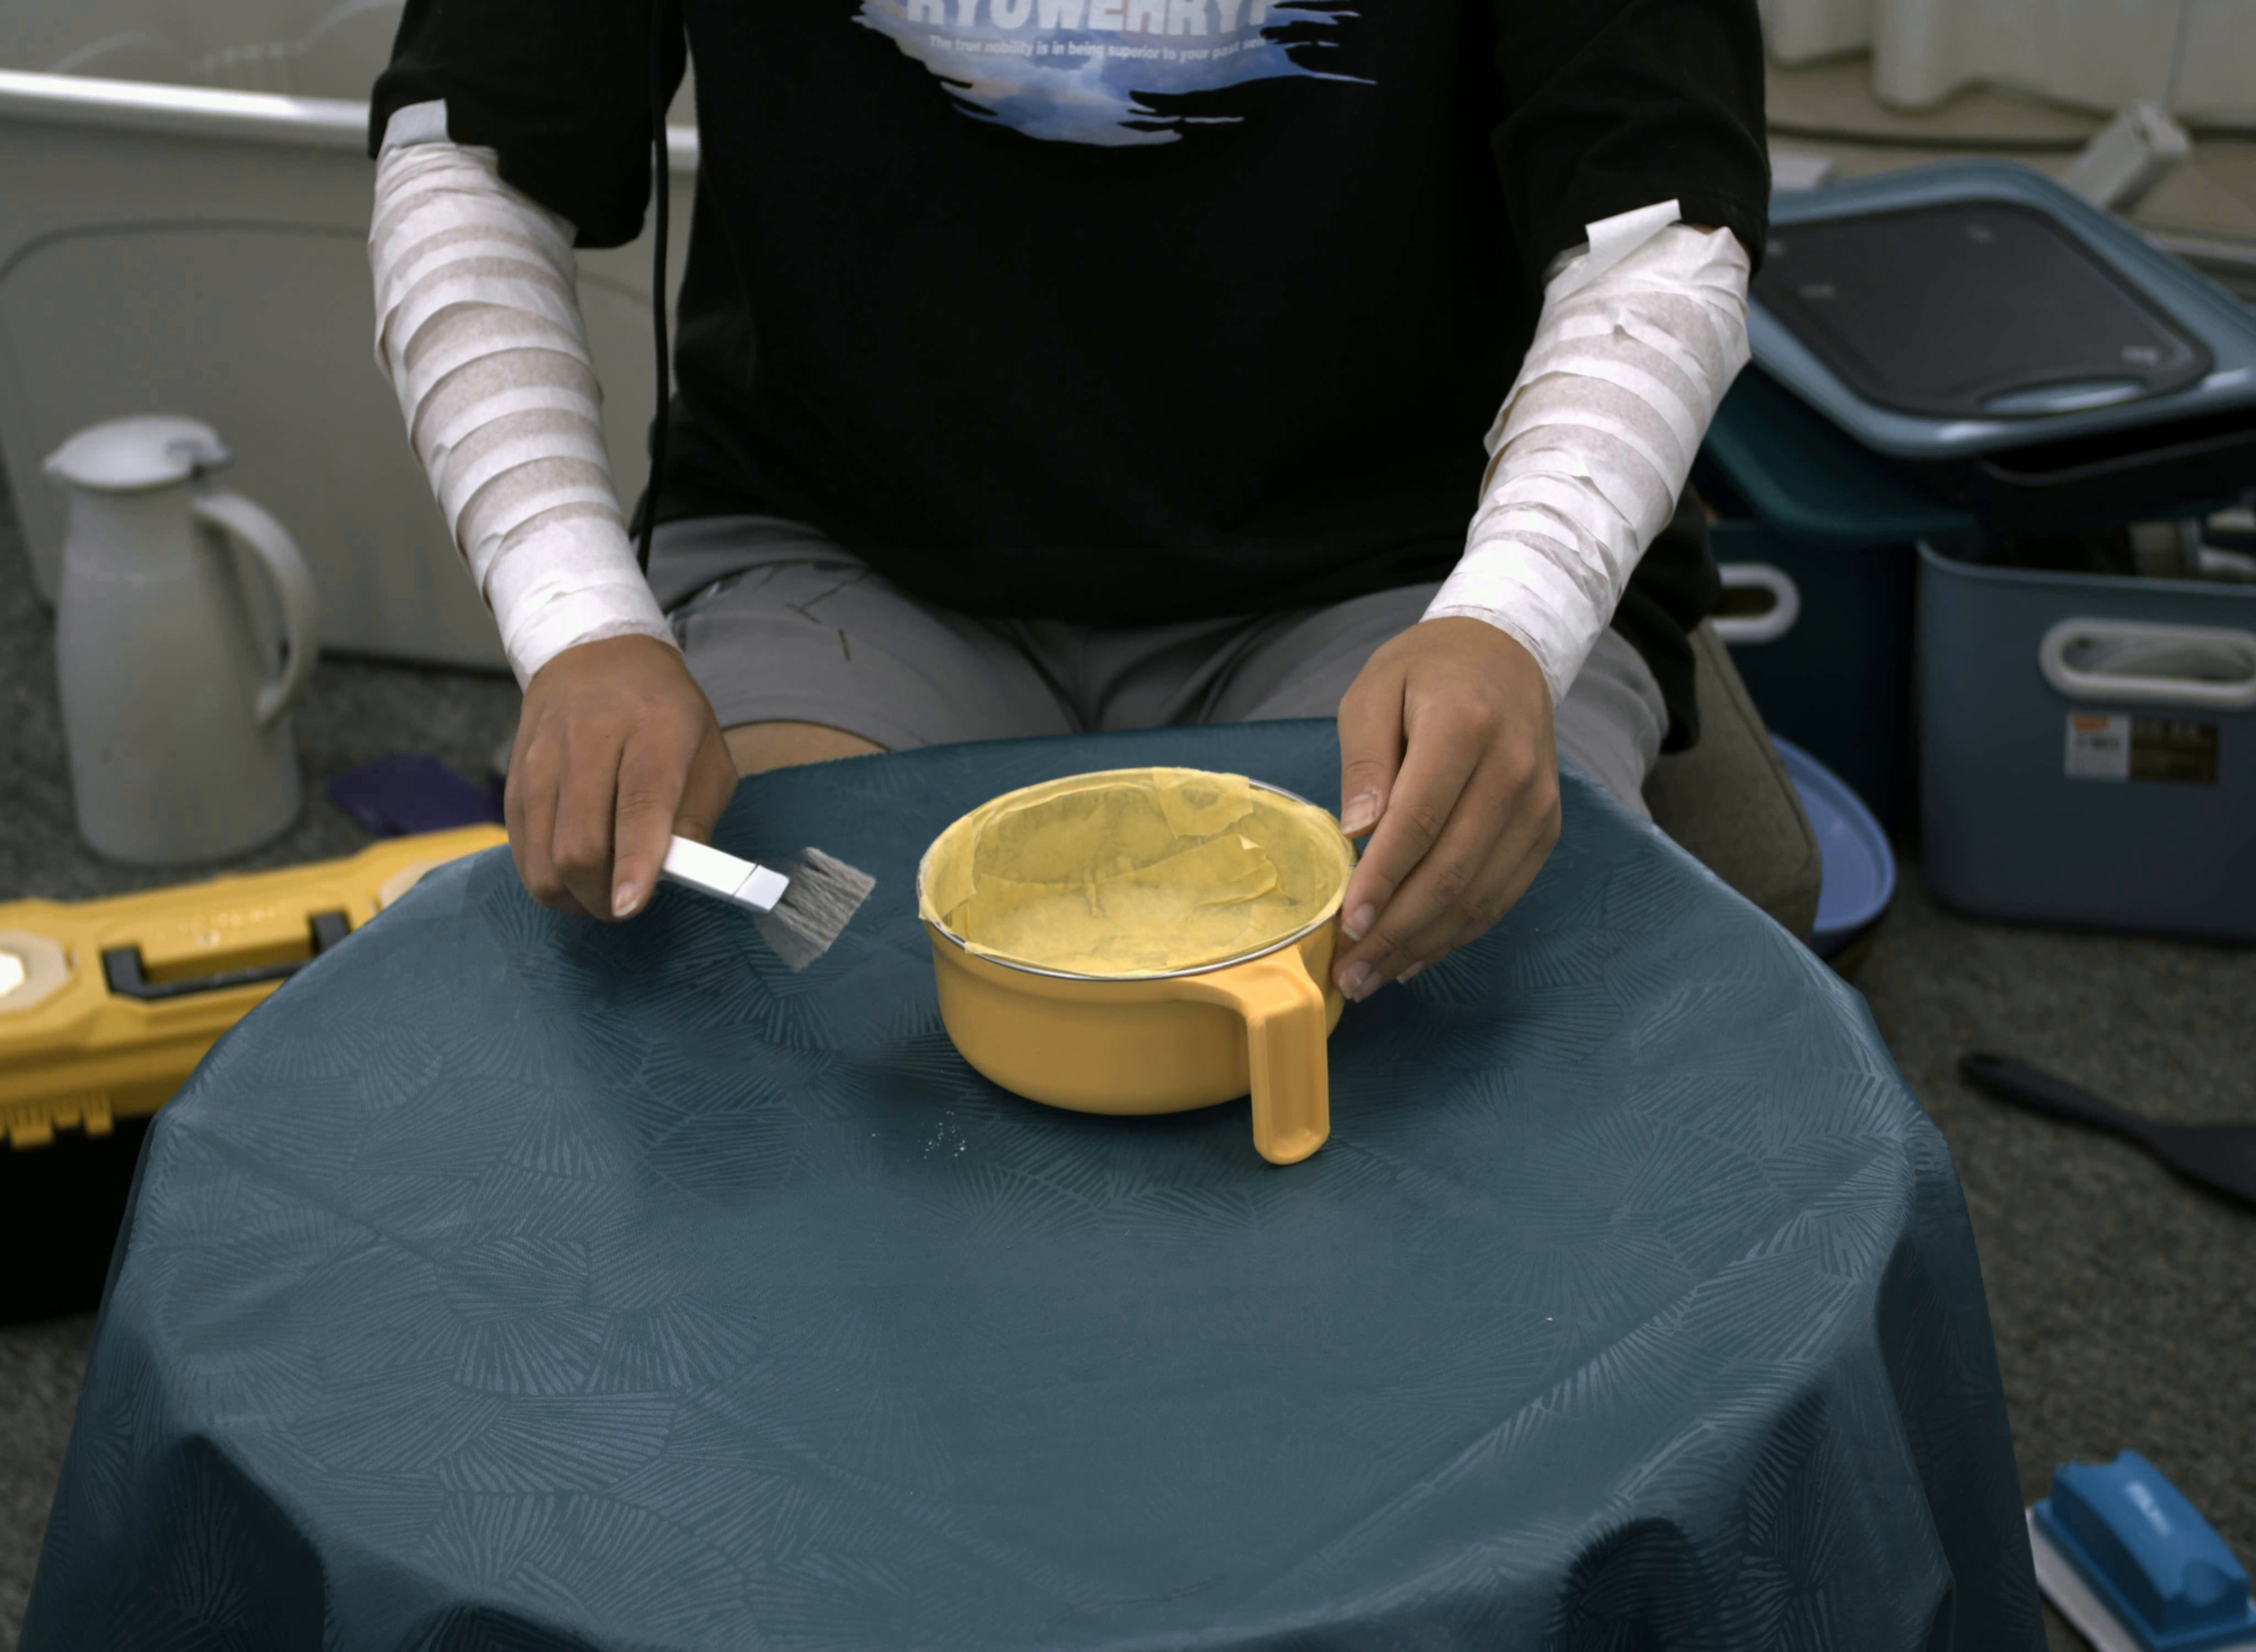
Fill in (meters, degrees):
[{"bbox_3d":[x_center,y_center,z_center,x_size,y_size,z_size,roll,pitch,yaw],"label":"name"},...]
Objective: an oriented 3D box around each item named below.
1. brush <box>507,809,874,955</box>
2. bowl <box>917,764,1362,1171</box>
[{"bbox_3d":[-0.153,0.020,1.981,0.035,0.050,0.242,-60,24,-15],"label":"brush"},{"bbox_3d":[0.010,0.048,1.929,0.154,0.073,0.180,-15,29,-29],"label":"bowl"}]
